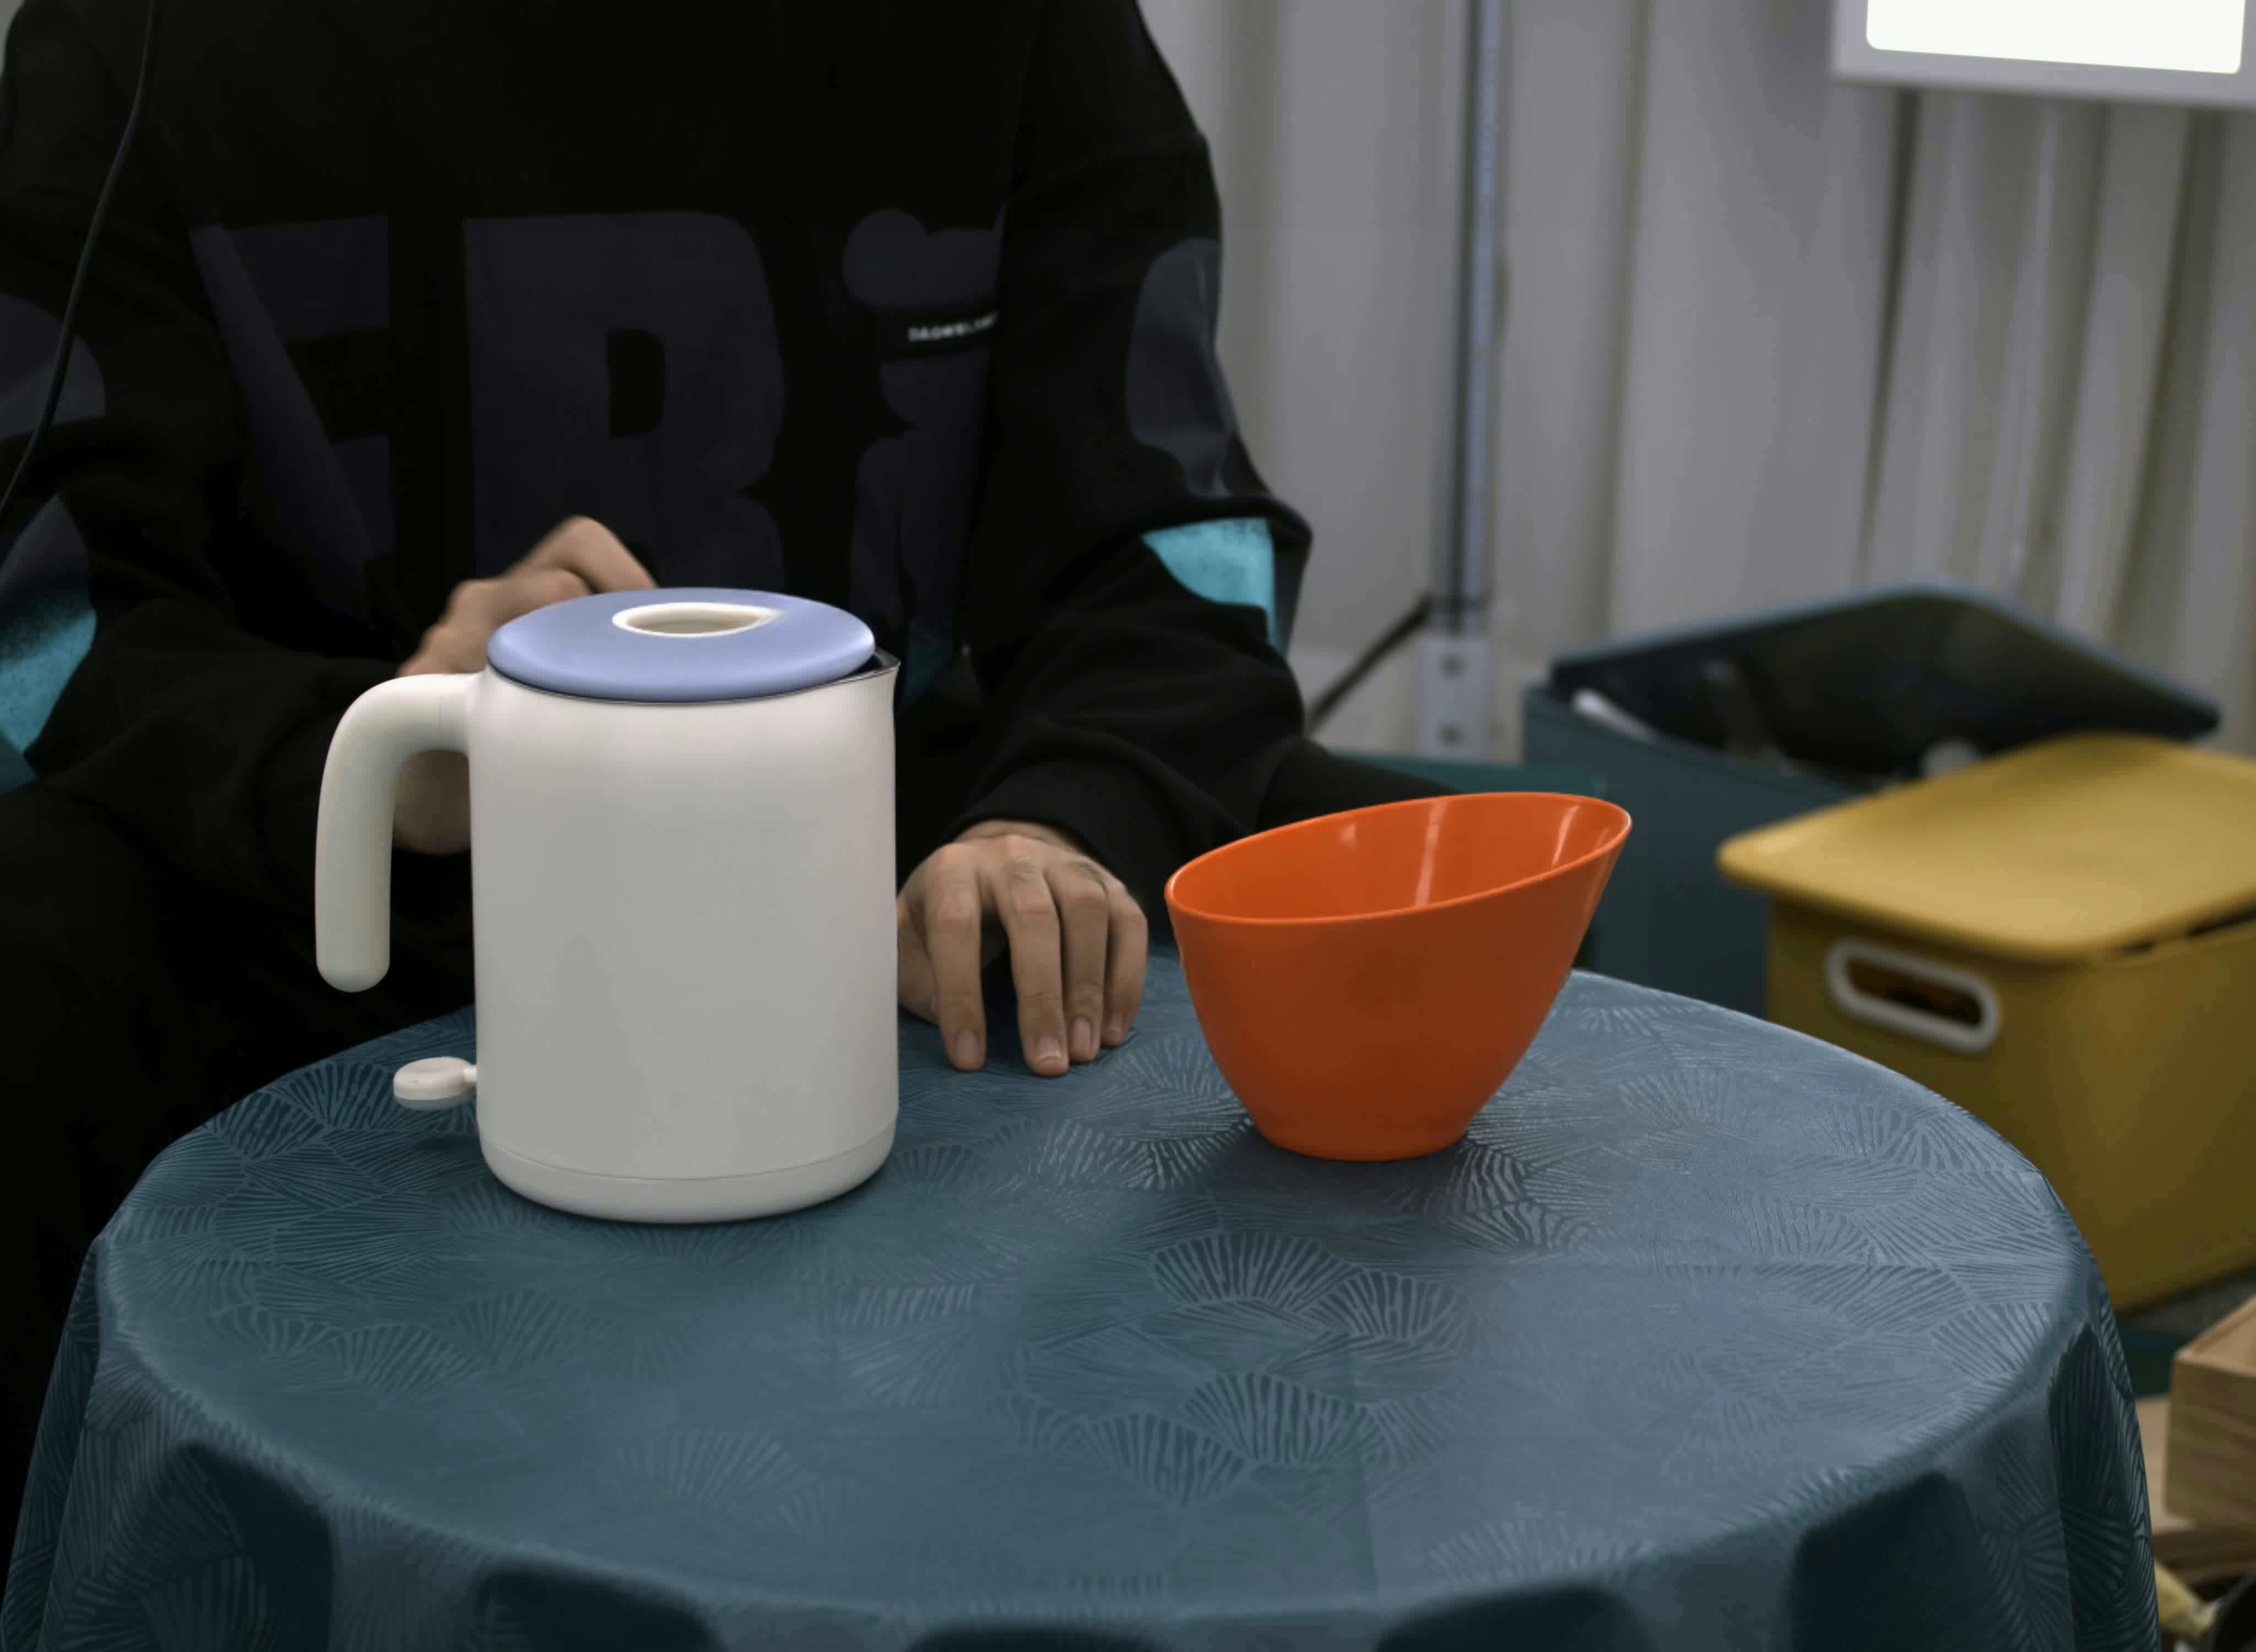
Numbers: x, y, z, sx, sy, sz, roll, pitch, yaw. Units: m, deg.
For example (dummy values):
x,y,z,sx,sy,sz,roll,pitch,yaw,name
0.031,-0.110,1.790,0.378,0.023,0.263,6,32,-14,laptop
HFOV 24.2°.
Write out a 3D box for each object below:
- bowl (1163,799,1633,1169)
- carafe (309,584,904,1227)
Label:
x,y,z,sx,sy,sz,roll,pitch,yaw,name
0.083,0.050,1.658,0.147,0.105,0.147,1,16,0,bowl
-0.160,0.023,1.619,0.190,0.184,0.132,0,15,9,carafe
